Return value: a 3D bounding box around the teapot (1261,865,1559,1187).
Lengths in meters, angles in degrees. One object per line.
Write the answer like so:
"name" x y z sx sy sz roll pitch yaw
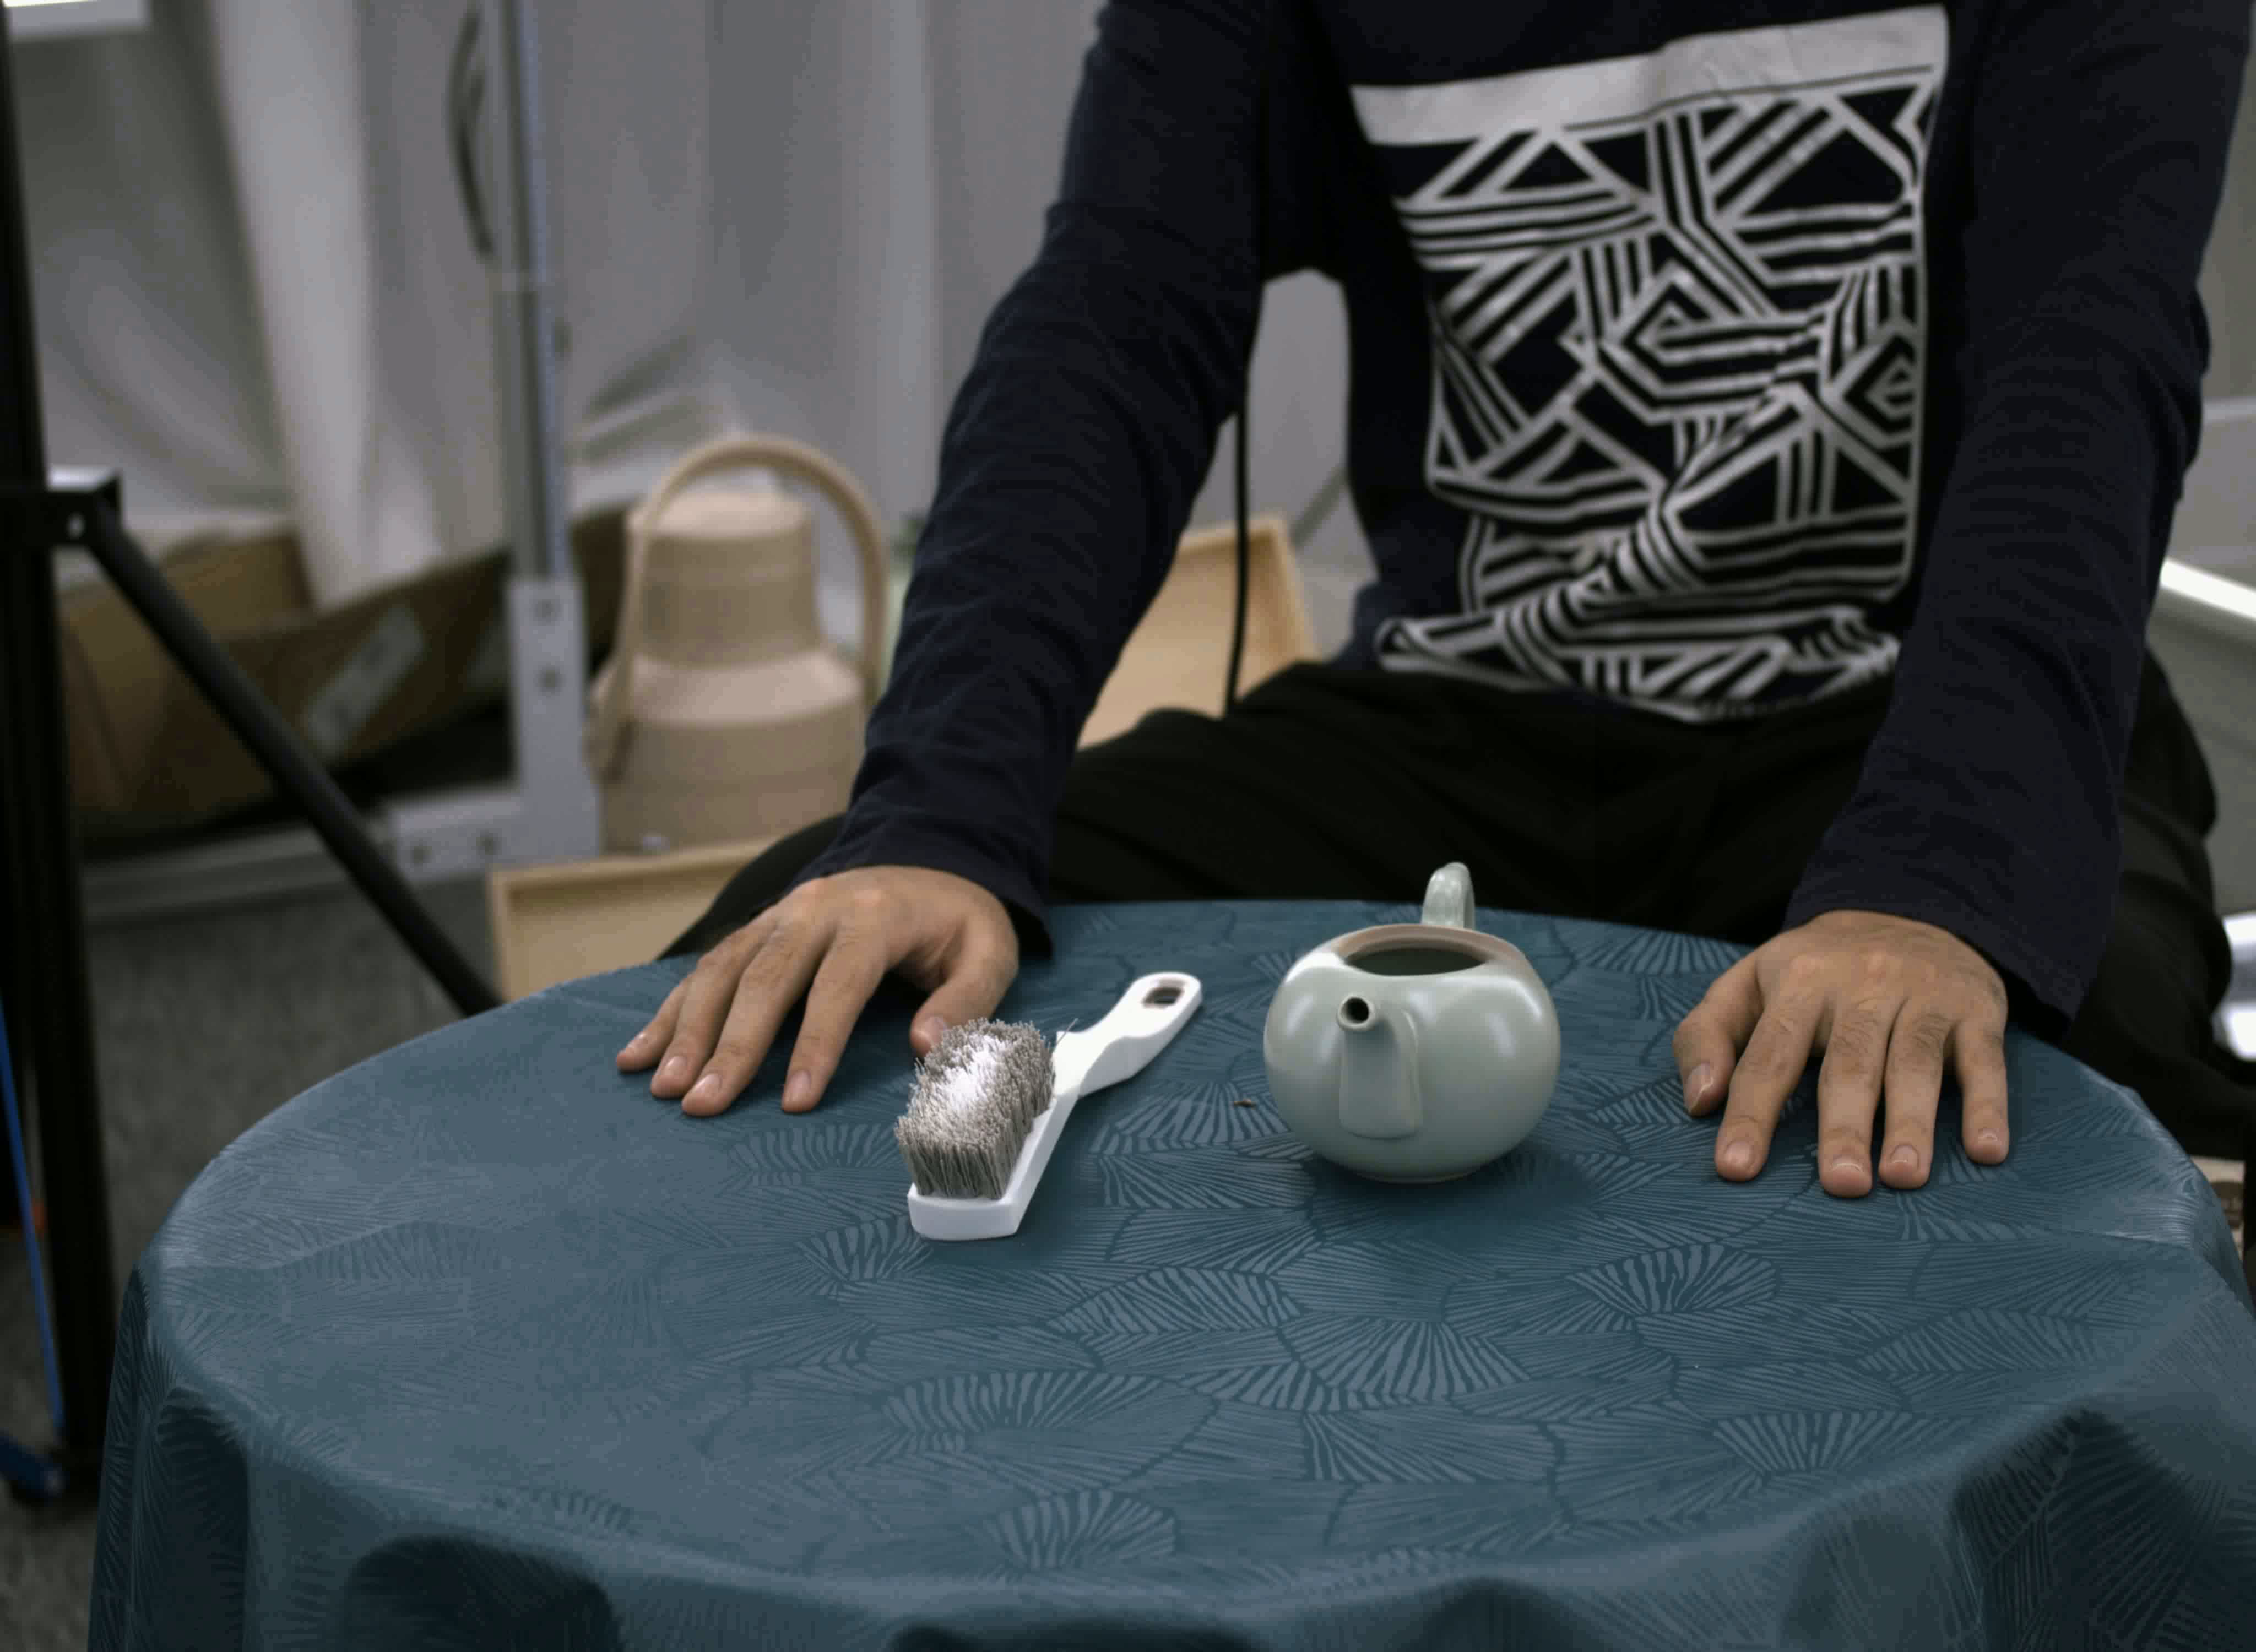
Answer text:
"teapot" 0.083 0.066 1.567 0.089 0.074 0.142 2 17 19

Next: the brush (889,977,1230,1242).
"brush" -0.016 0.067 1.623 0.035 0.050 0.241 -1 15 20
